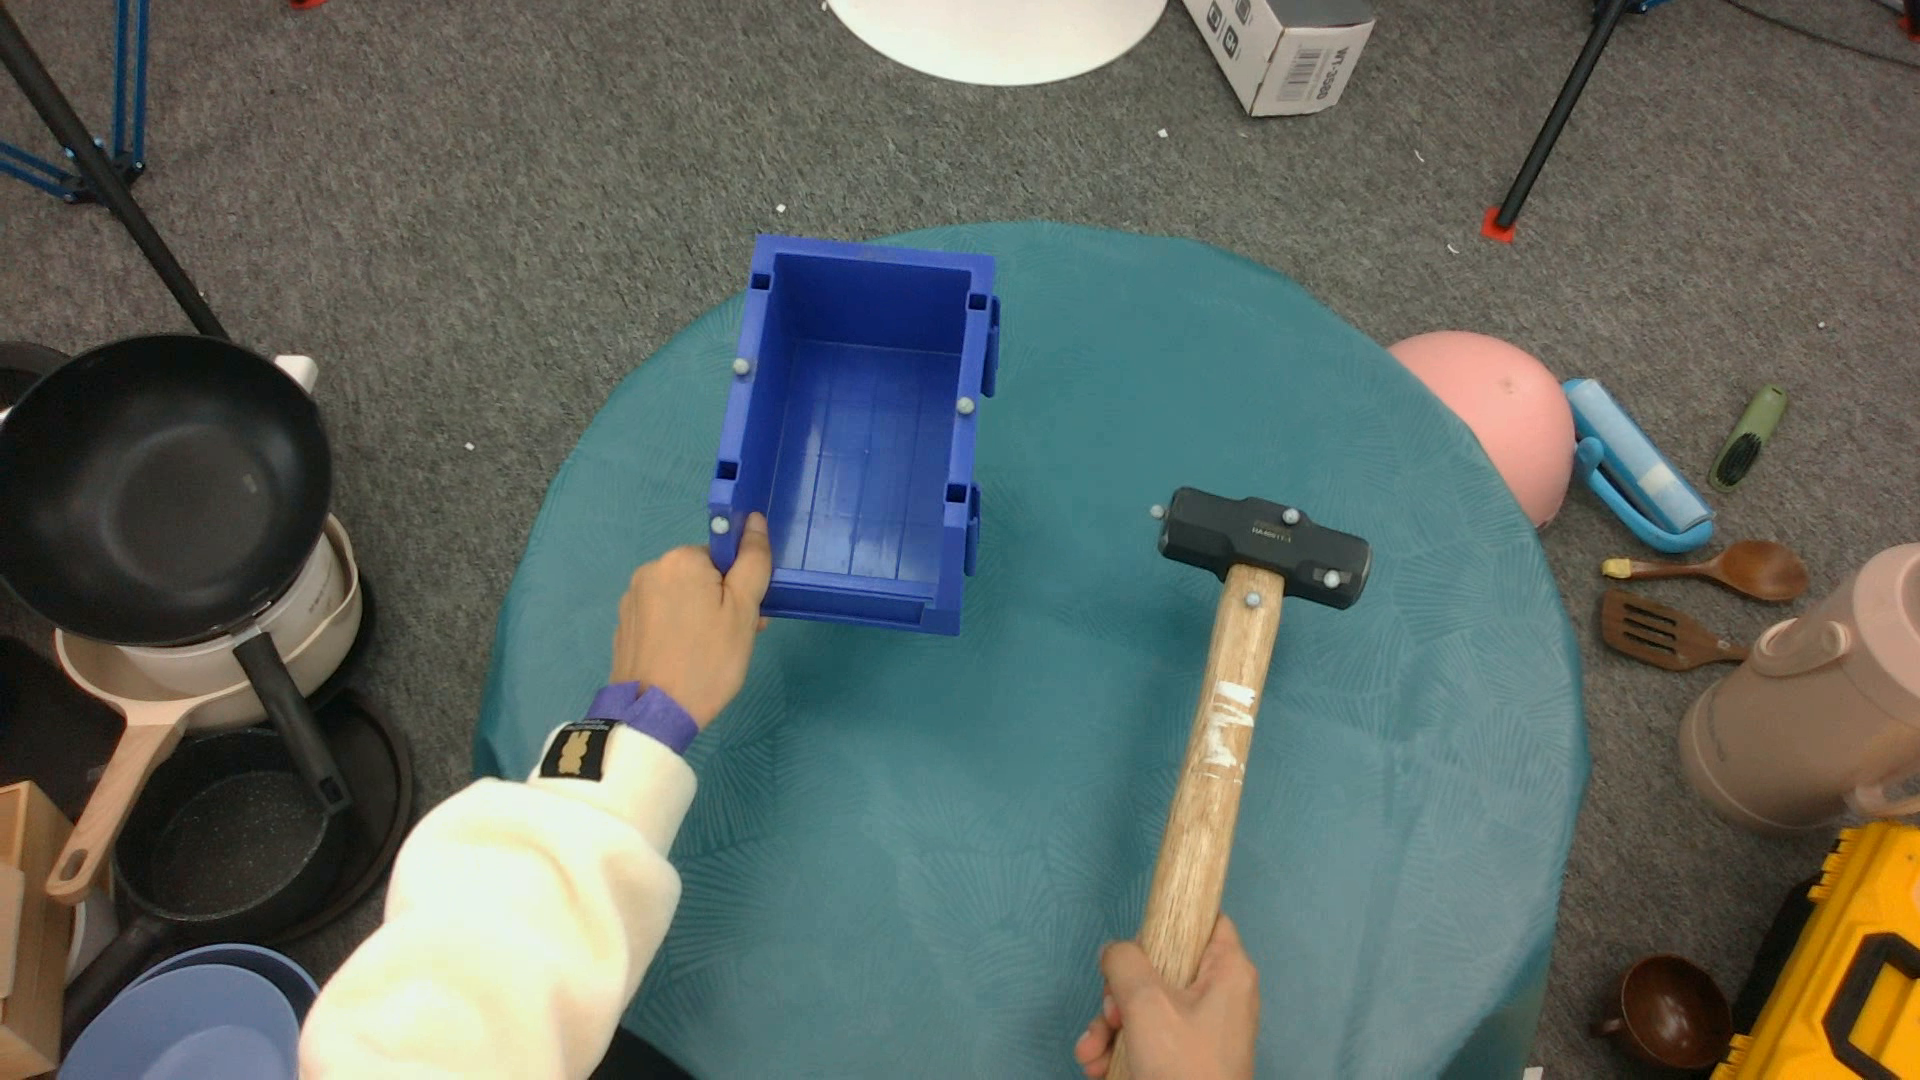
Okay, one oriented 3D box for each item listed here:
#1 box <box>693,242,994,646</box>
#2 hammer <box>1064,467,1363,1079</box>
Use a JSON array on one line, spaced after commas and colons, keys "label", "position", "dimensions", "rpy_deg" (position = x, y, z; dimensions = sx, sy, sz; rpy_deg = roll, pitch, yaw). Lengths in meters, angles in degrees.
[{"label": "box", "position": [-0.054, -0.045, 0.682], "dimensions": [0.124, 0.081, 0.180], "rpy_deg": [7, 64, 1]}, {"label": "hammer", "position": [0.109, 0.106, 0.653], "dimensions": [0.107, 0.038, 0.306], "rpy_deg": [19, 62, 5]}]
